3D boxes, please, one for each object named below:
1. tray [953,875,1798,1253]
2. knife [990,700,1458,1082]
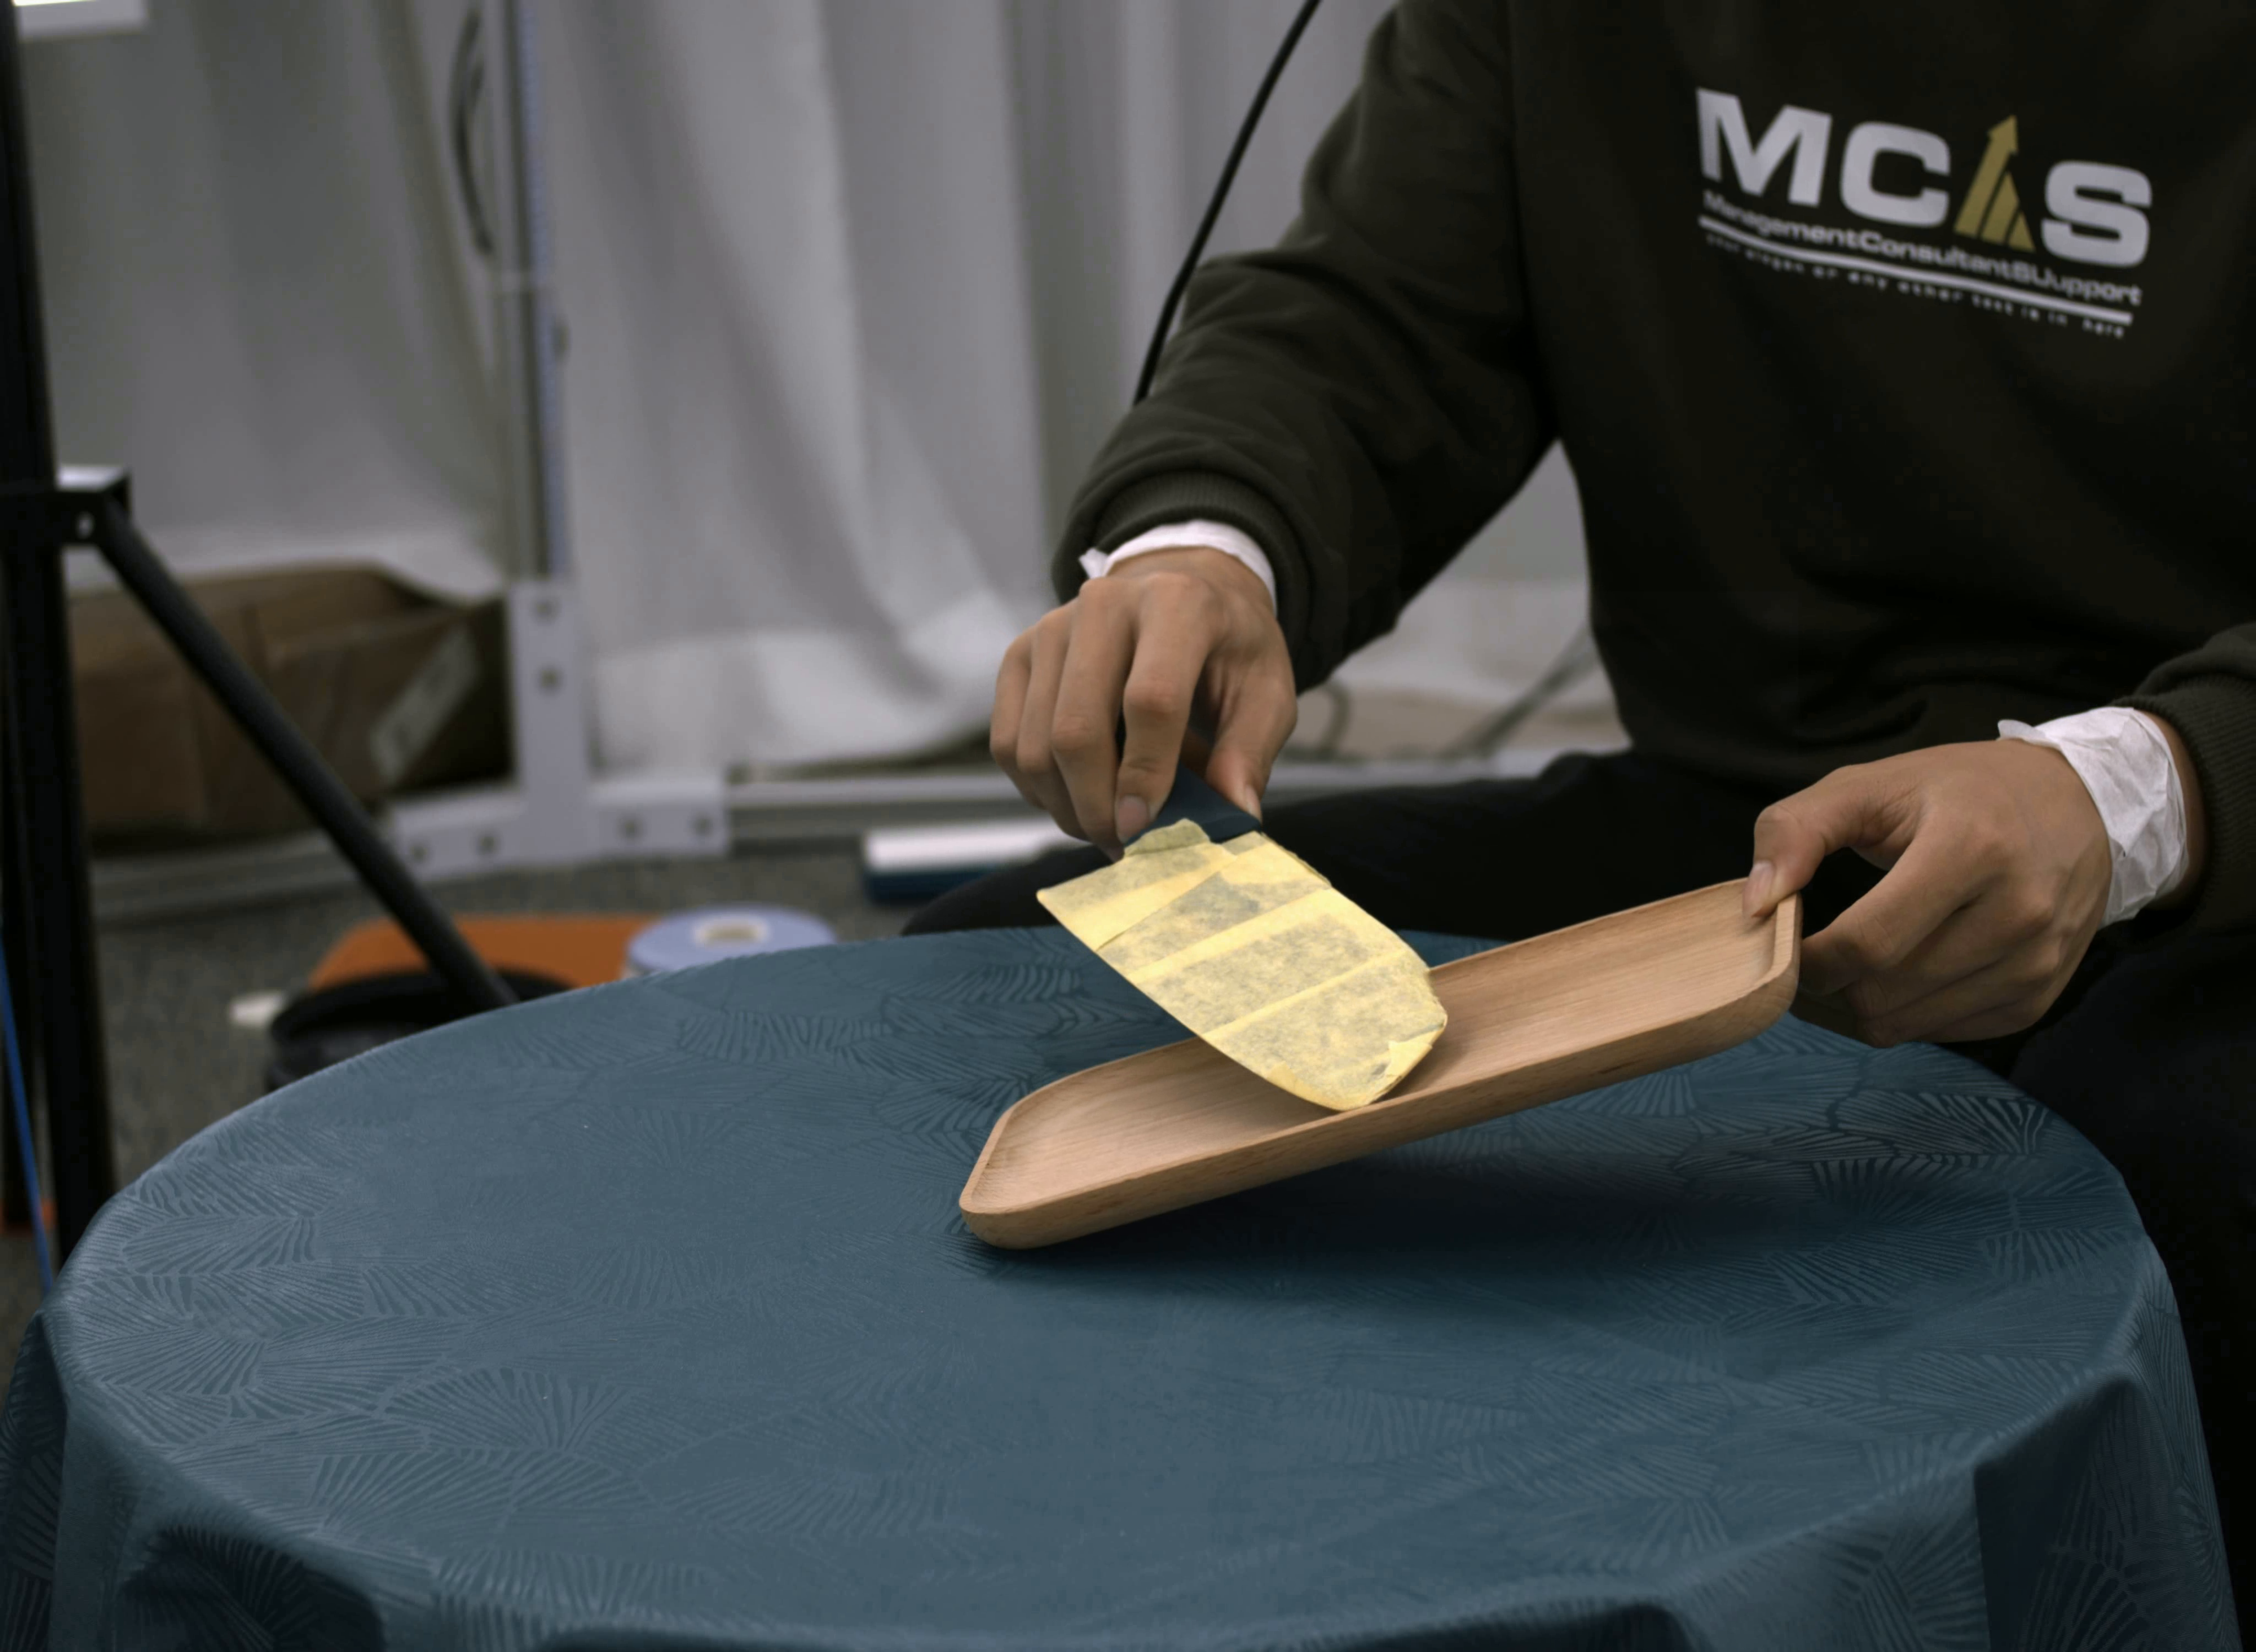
[{"bbox_3d":[0.073,0.069,1.530,0.252,0.023,0.130,-17,10,14],"label":"tray"},{"bbox_3d":[0.015,0.020,1.609,0.080,0.027,0.295,-19,27,-18],"label":"knife"}]
